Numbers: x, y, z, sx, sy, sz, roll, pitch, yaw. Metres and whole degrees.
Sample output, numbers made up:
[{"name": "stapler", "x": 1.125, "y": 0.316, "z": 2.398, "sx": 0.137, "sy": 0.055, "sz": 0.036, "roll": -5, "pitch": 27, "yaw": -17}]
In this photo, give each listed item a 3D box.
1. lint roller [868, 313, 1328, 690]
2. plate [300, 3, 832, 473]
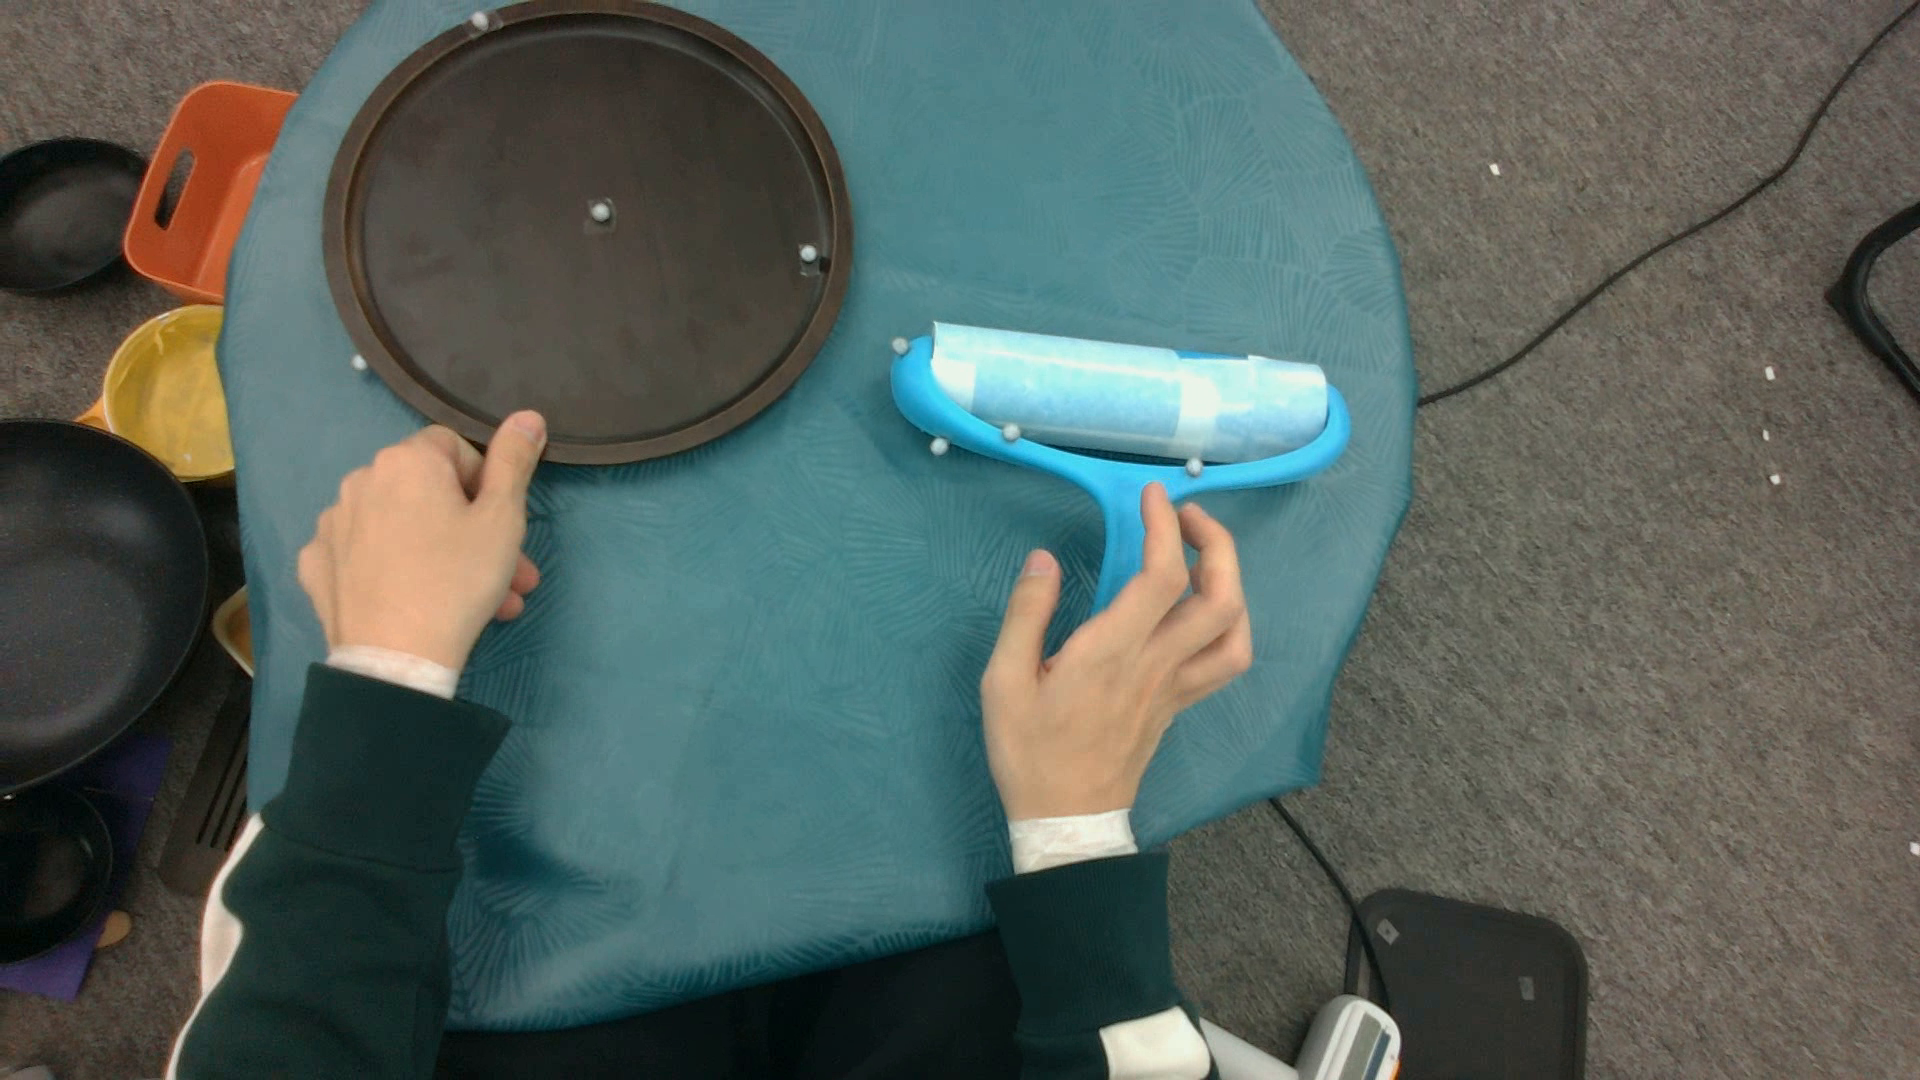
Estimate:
[{"name": "lint roller", "x": 0.070, "y": -0.022, "z": 0.664, "sx": 0.229, "sy": 0.067, "sz": 0.180, "roll": 1, "pitch": 73, "yaw": -9}, {"name": "plate", "x": -0.192, "y": -0.153, "z": 0.684, "sx": 0.255, "sy": 0.029, "sz": 0.255, "roll": 2, "pitch": 73, "yaw": -6}]
